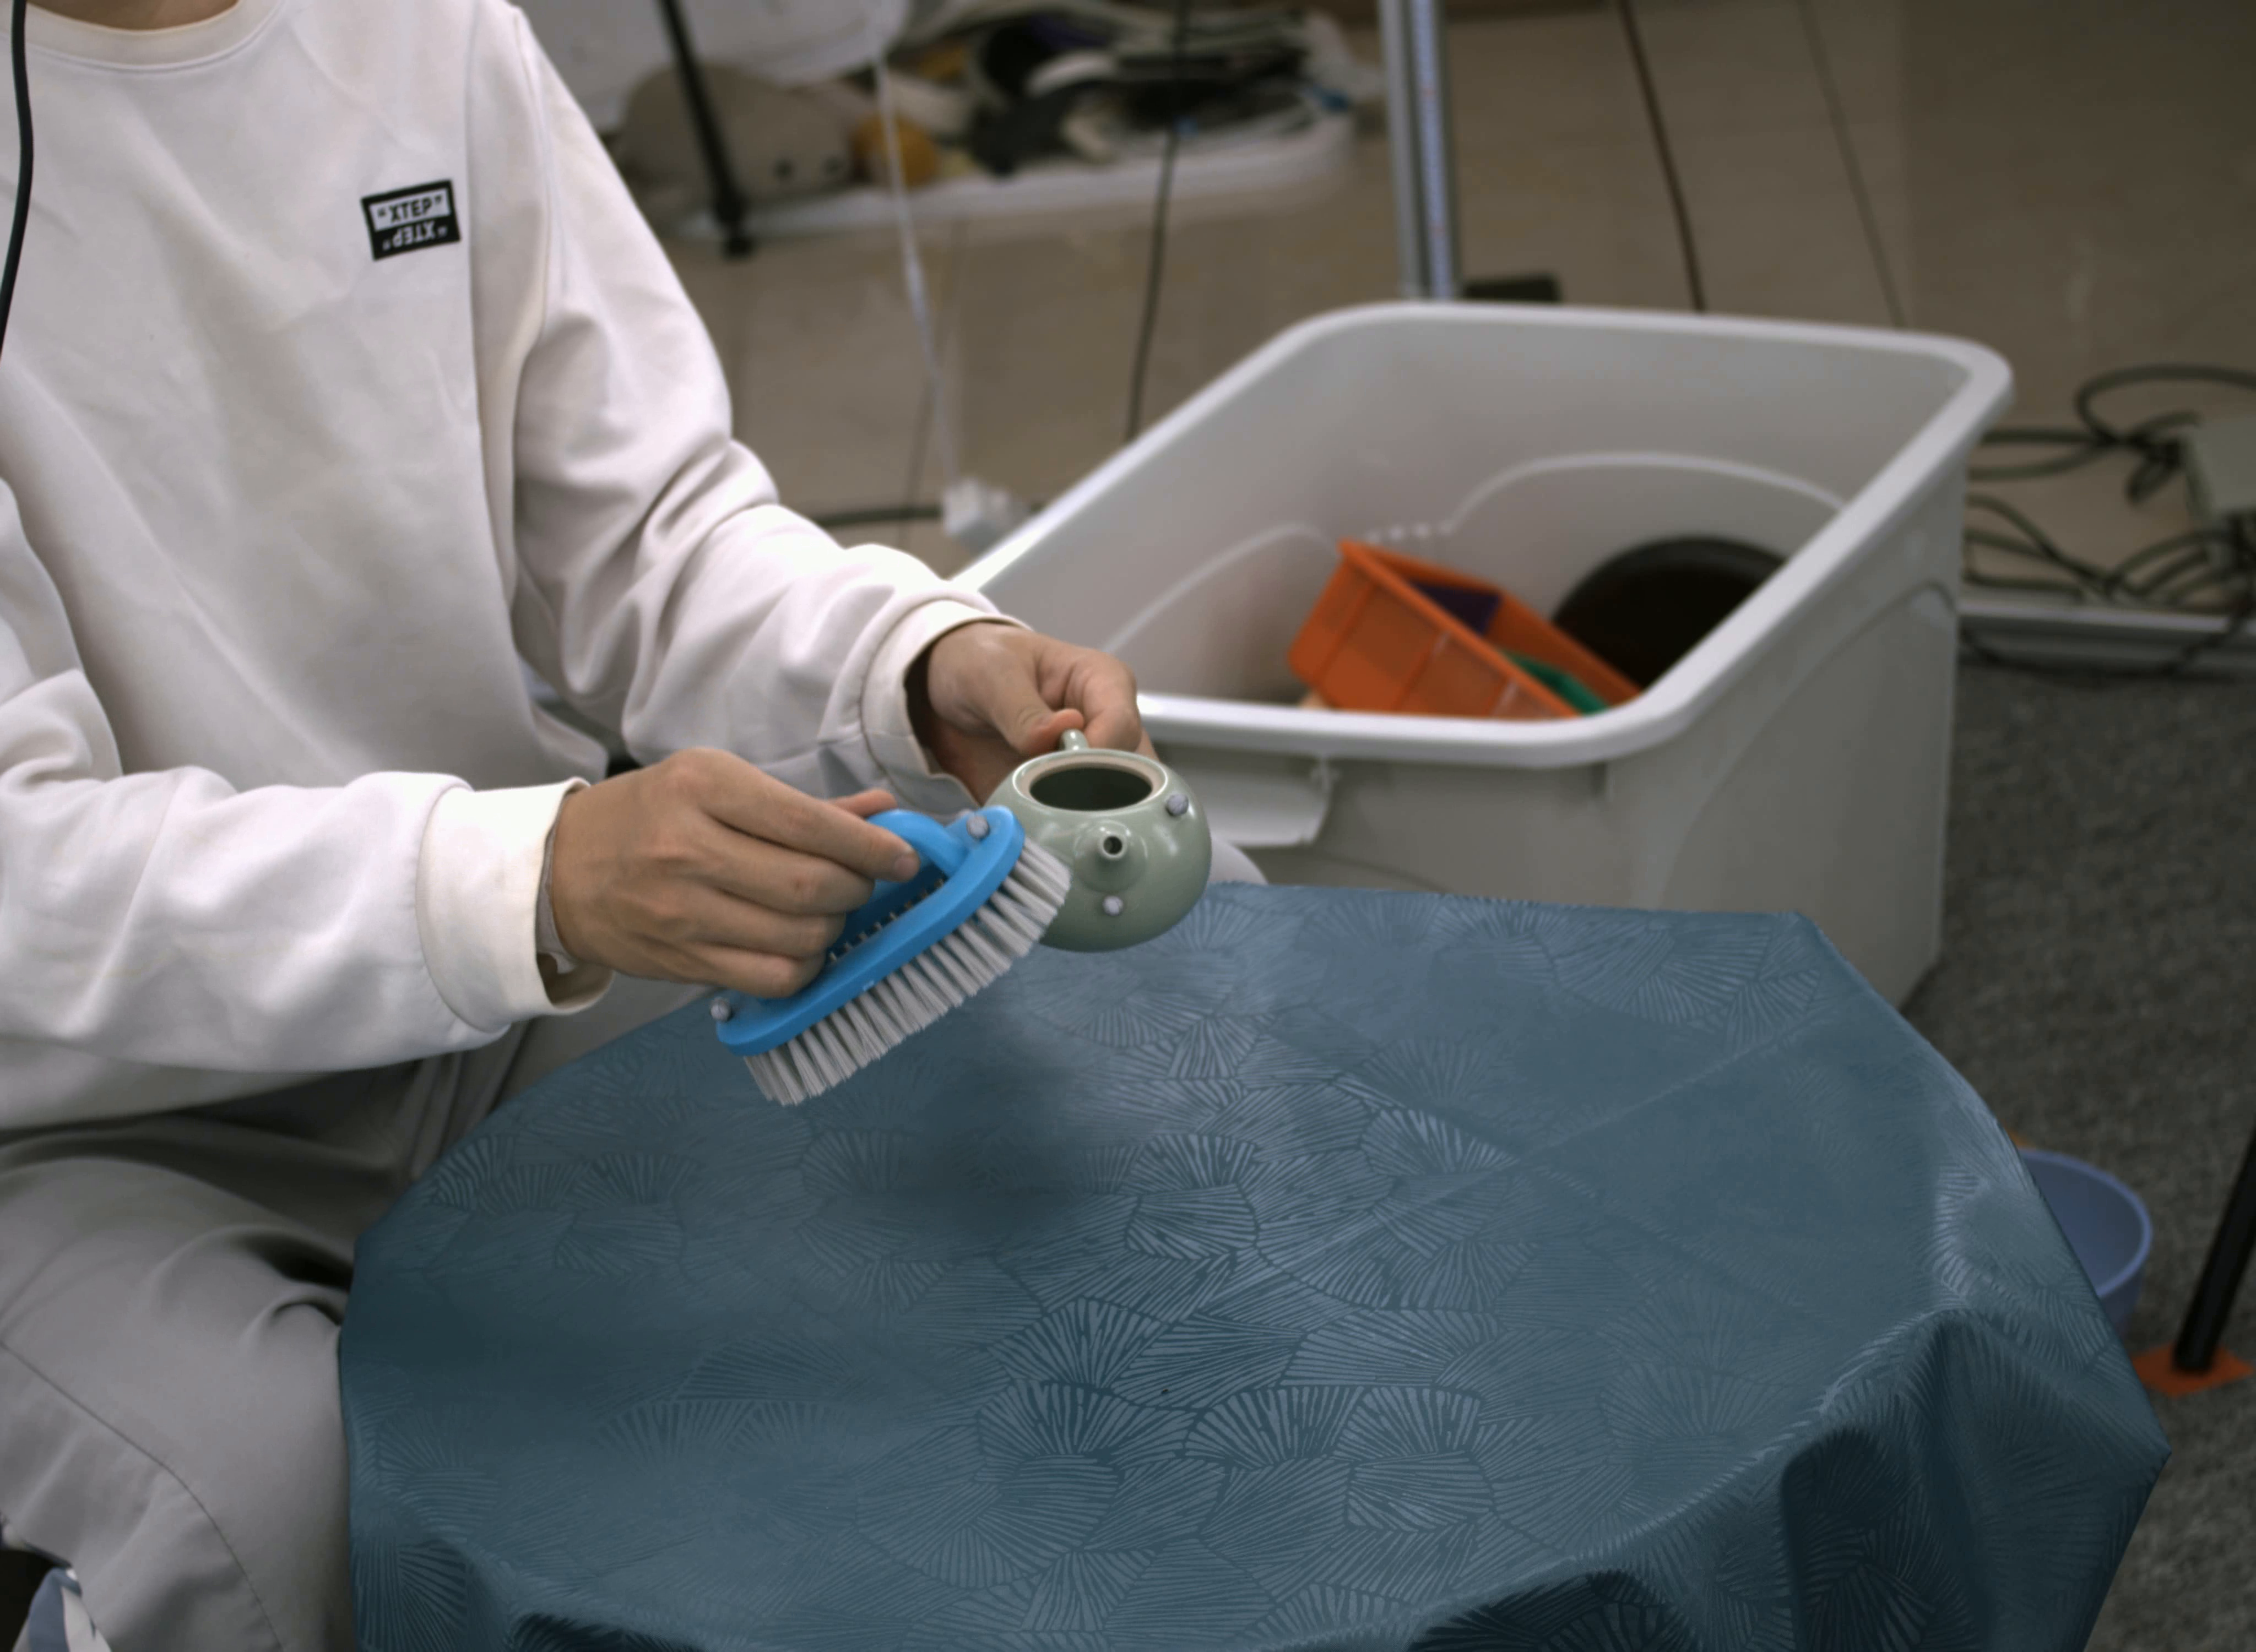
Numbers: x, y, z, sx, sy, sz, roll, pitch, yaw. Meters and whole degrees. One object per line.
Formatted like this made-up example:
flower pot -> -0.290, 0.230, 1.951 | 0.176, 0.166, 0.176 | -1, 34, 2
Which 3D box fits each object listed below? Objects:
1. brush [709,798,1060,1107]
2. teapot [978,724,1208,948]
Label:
brush -> -0.096, 0.037, 2.027 | 0.142, 0.064, 0.083 | -34, 28, 20
teapot -> -0.016, 0.004, 2.161 | 0.091, 0.062, 0.126 | -5, 25, -2
